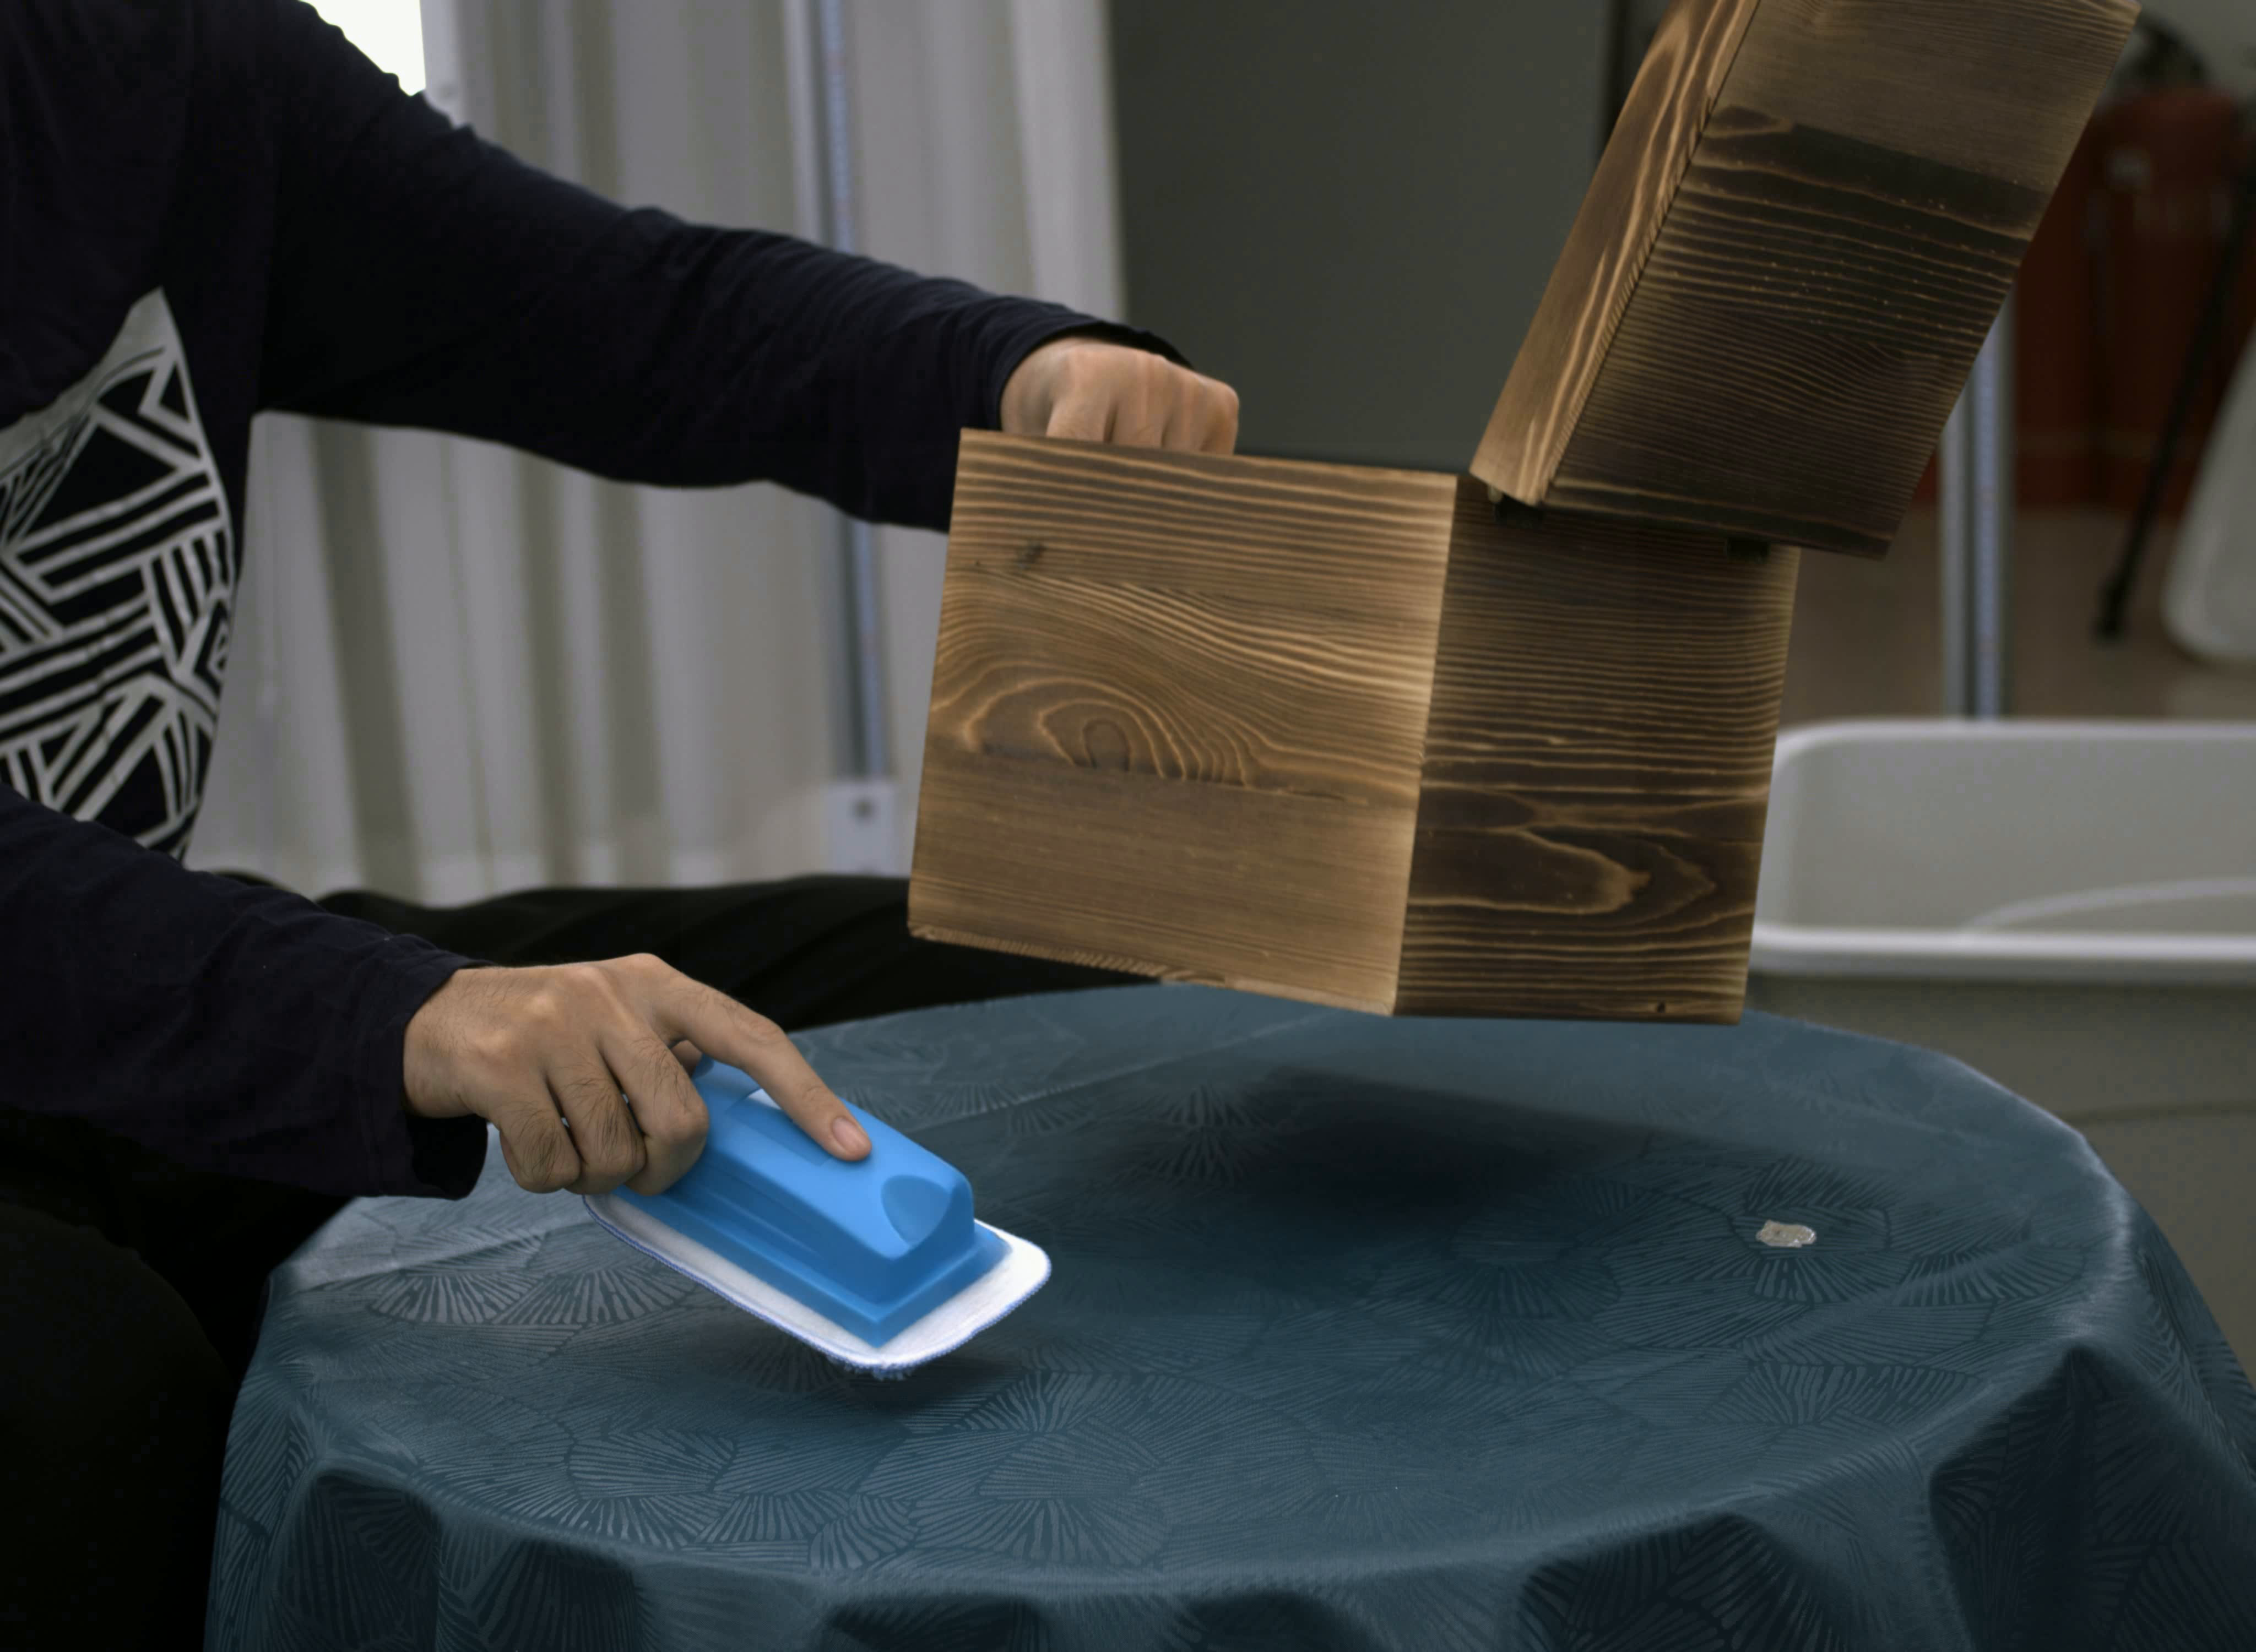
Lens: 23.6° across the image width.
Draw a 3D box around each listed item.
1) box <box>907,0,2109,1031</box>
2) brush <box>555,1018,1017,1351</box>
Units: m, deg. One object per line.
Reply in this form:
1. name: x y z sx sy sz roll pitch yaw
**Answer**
1. box: 0.125 -0.125 1.741 0.324 0.380 0.204 8 1 40
2. brush: -0.102 0.103 1.623 0.082 0.056 0.145 -24 40 -39
